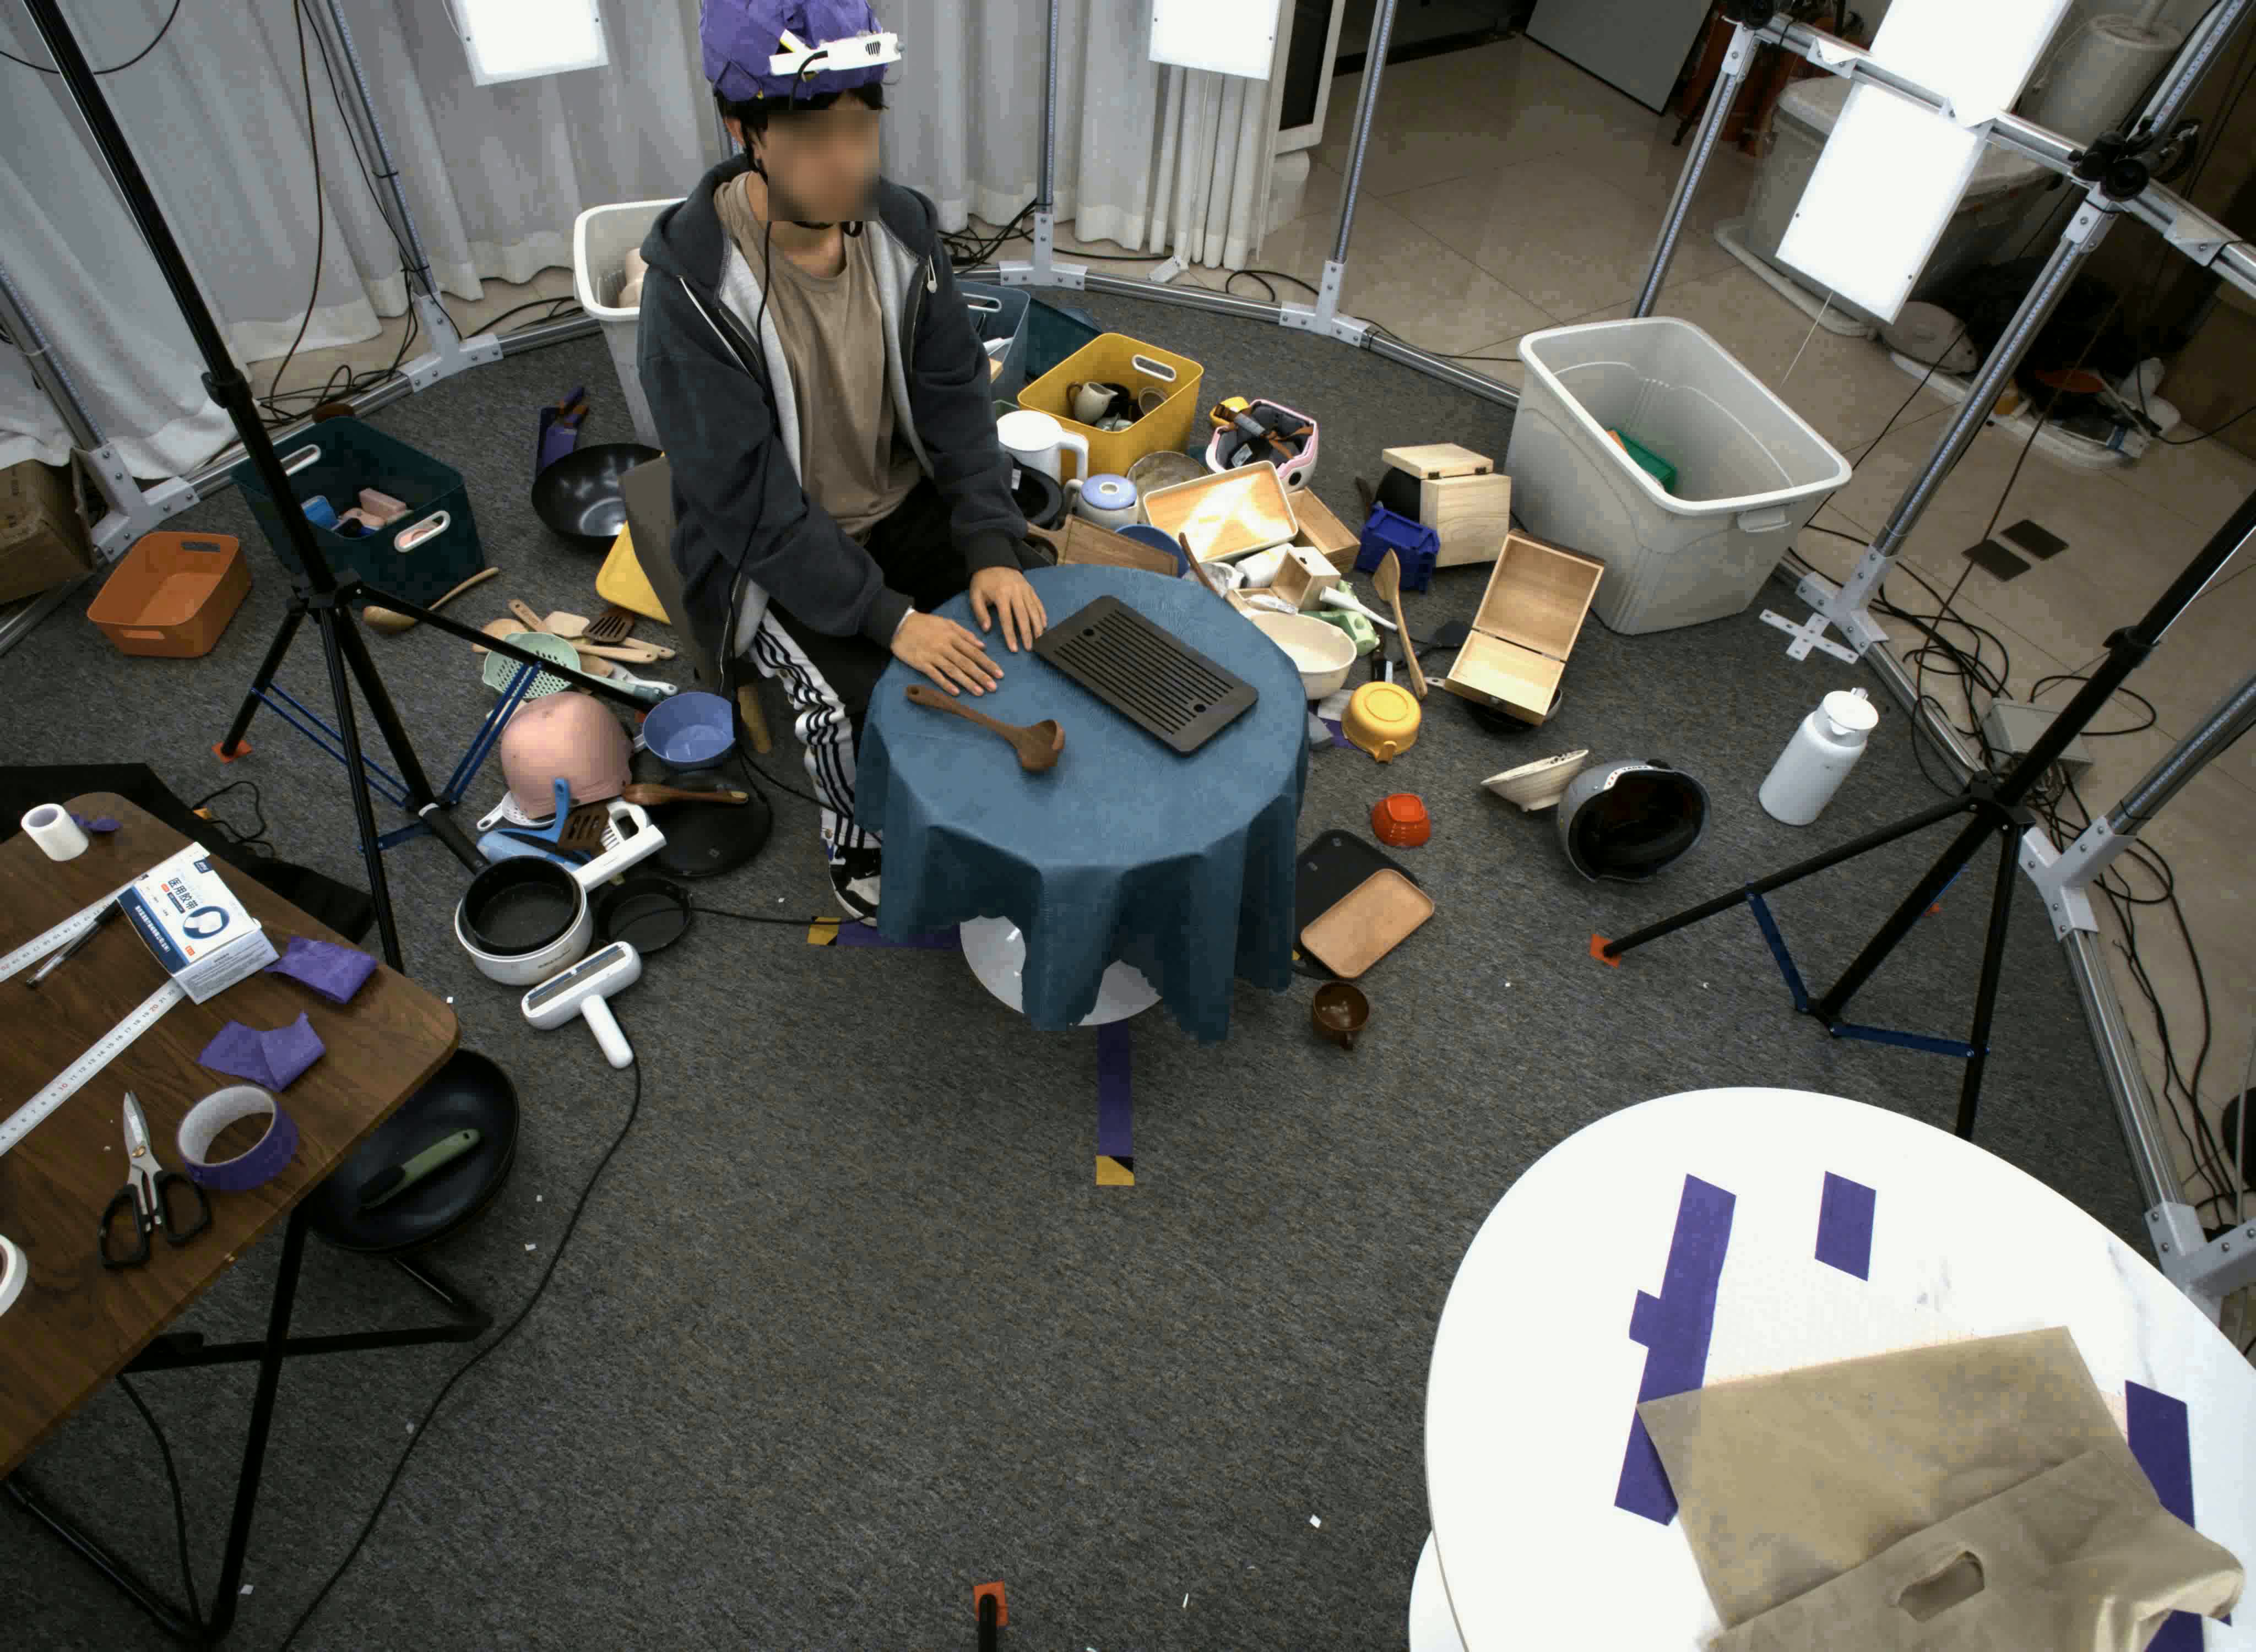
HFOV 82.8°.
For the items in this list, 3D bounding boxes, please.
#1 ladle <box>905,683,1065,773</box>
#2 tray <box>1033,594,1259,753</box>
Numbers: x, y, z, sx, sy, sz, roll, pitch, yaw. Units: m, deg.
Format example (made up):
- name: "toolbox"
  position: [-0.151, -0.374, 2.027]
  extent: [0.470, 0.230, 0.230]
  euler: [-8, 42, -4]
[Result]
- name: "ladle"
  position: [-0.200, -0.146, 1.739]
  extent: [0.262, 0.064, 0.077]
  euler: [25, 78, 17]
- name: "tray"
  position: [0.024, -0.223, 1.850]
  extent: [0.310, 0.018, 0.172]
  euler: [37, 56, 25]
